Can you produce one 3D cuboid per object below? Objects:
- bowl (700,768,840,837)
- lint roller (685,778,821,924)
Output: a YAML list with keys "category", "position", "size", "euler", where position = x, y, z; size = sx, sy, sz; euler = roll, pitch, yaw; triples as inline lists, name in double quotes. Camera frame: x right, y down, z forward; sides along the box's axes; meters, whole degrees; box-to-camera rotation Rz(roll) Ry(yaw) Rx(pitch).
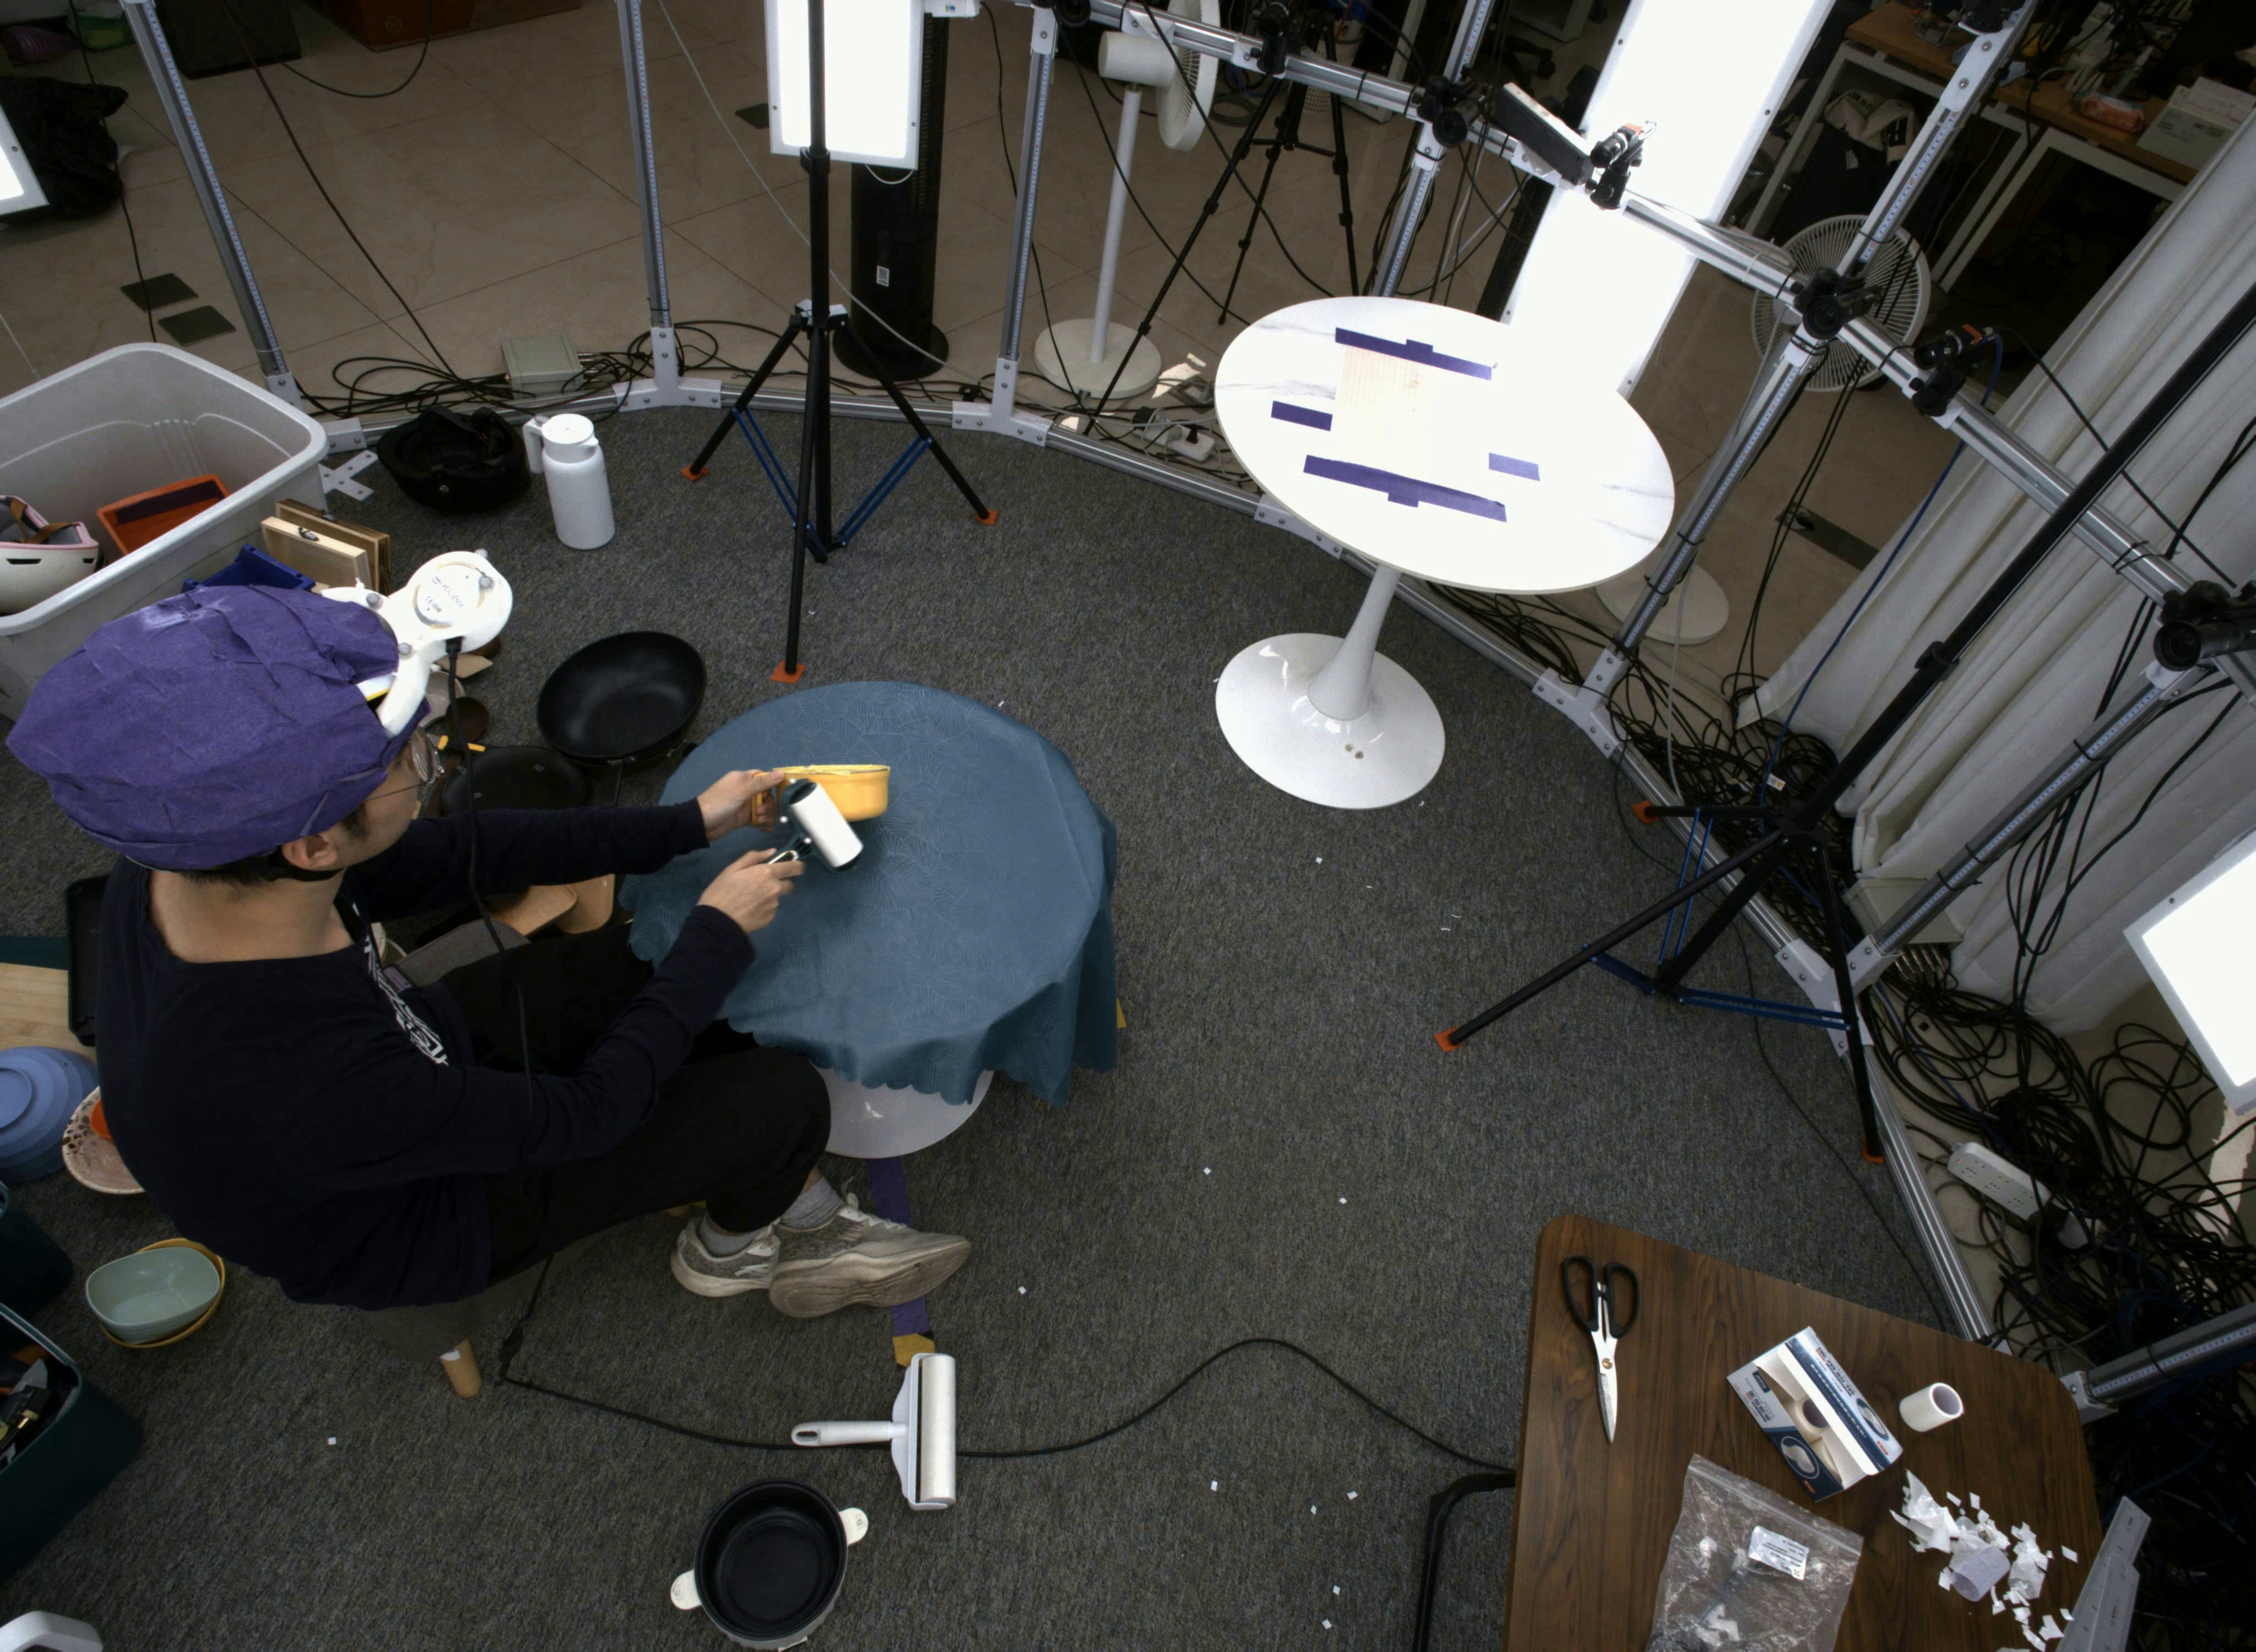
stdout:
- category: "bowl"
  position: [-0.458, -0.034, 1.664]
  size: [0.182, 0.076, 0.147]
  euler: [-9, 12, -40]
- category: "lint roller"
  position: [-0.461, 0.048, 1.553]
  size: [0.047, 0.139, 0.179]
  euler: [0, 43, 43]
